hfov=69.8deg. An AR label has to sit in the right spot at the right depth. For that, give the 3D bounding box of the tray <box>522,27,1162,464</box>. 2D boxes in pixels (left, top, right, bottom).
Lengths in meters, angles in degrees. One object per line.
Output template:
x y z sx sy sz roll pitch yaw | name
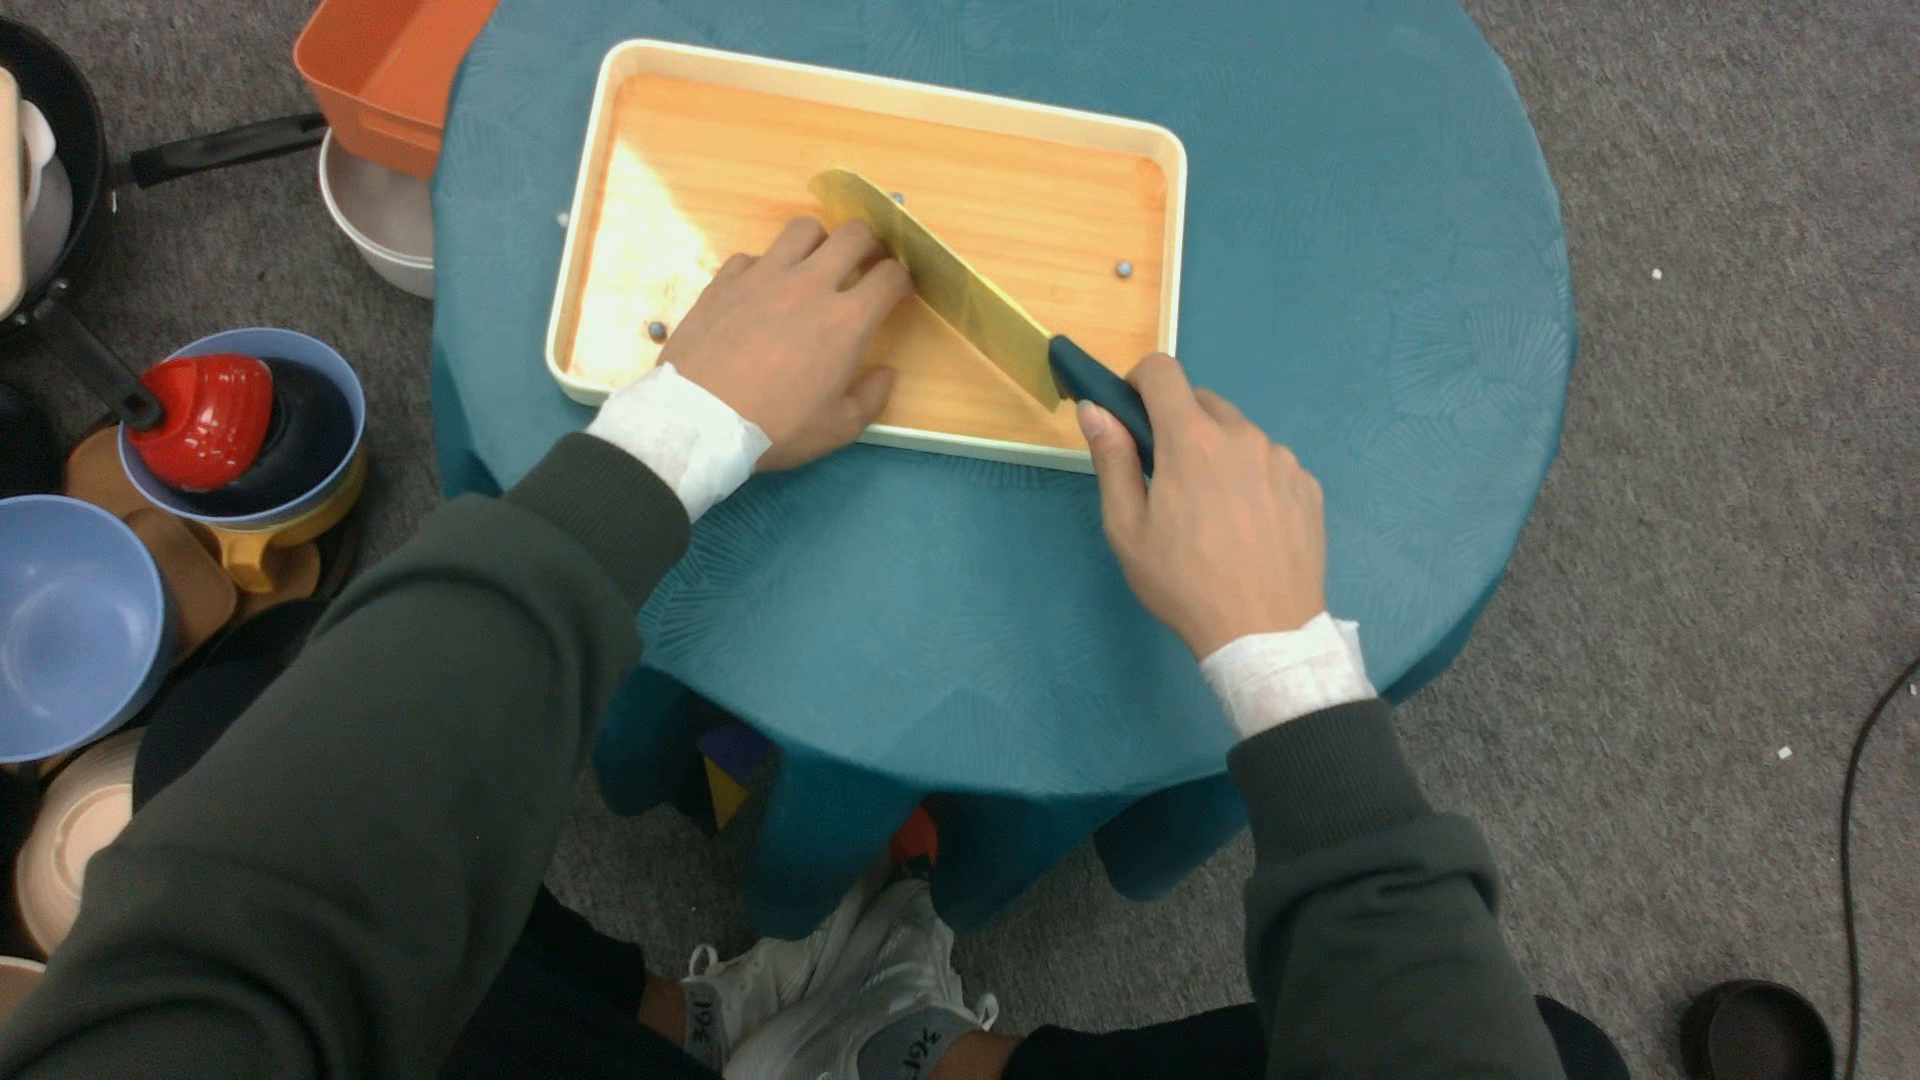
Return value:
-0.050 -0.147 0.688 0.300 0.027 0.192 7 74 -7 | tray

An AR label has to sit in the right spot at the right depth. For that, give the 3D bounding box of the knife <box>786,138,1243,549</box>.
0.018 -0.095 0.645 0.289 0.081 0.027 43 78 11 | knife
